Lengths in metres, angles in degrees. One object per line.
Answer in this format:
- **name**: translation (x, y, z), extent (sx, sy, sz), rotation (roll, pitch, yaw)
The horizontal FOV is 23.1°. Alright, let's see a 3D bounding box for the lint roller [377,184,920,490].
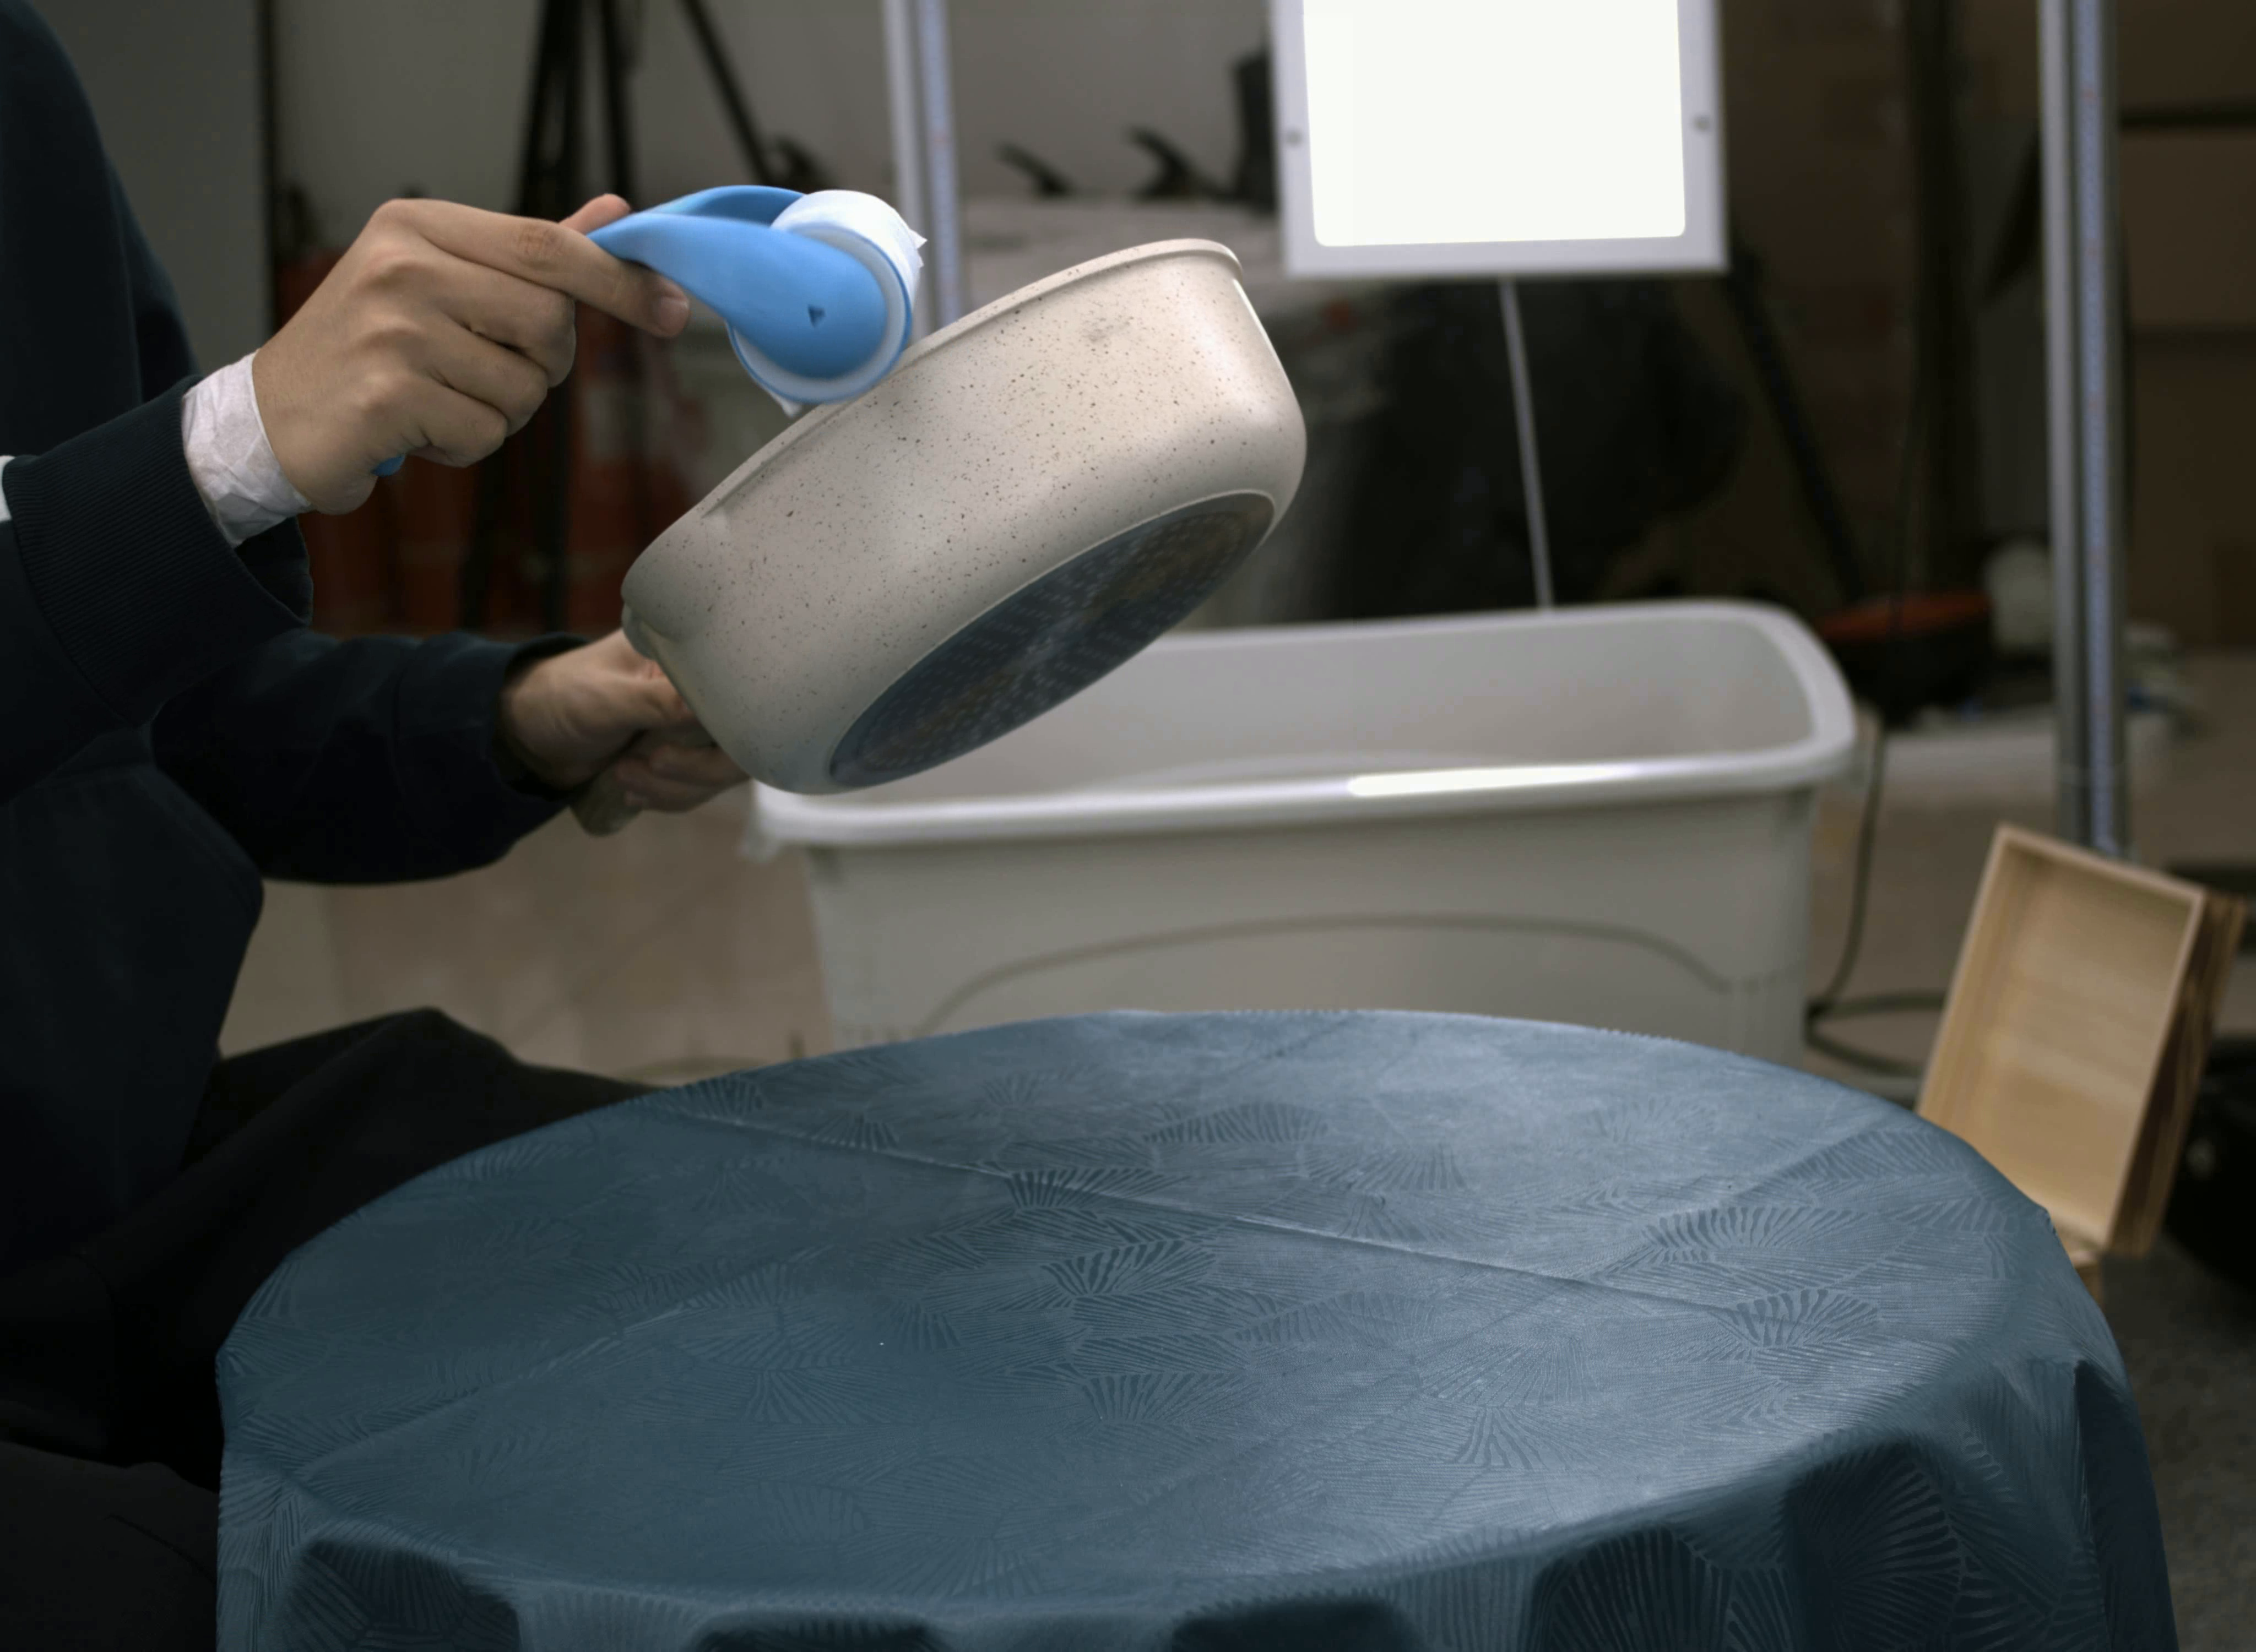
- **lint roller**: translation (-0.149, -0.154, 1.693), extent (0.180, 0.068, 0.229), rotation (-13, 11, -1)

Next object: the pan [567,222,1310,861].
- **pan**: translation (-0.090, -0.063, 1.984), extent (0.257, 0.102, 0.443), rotation (-25, -14, -36)
